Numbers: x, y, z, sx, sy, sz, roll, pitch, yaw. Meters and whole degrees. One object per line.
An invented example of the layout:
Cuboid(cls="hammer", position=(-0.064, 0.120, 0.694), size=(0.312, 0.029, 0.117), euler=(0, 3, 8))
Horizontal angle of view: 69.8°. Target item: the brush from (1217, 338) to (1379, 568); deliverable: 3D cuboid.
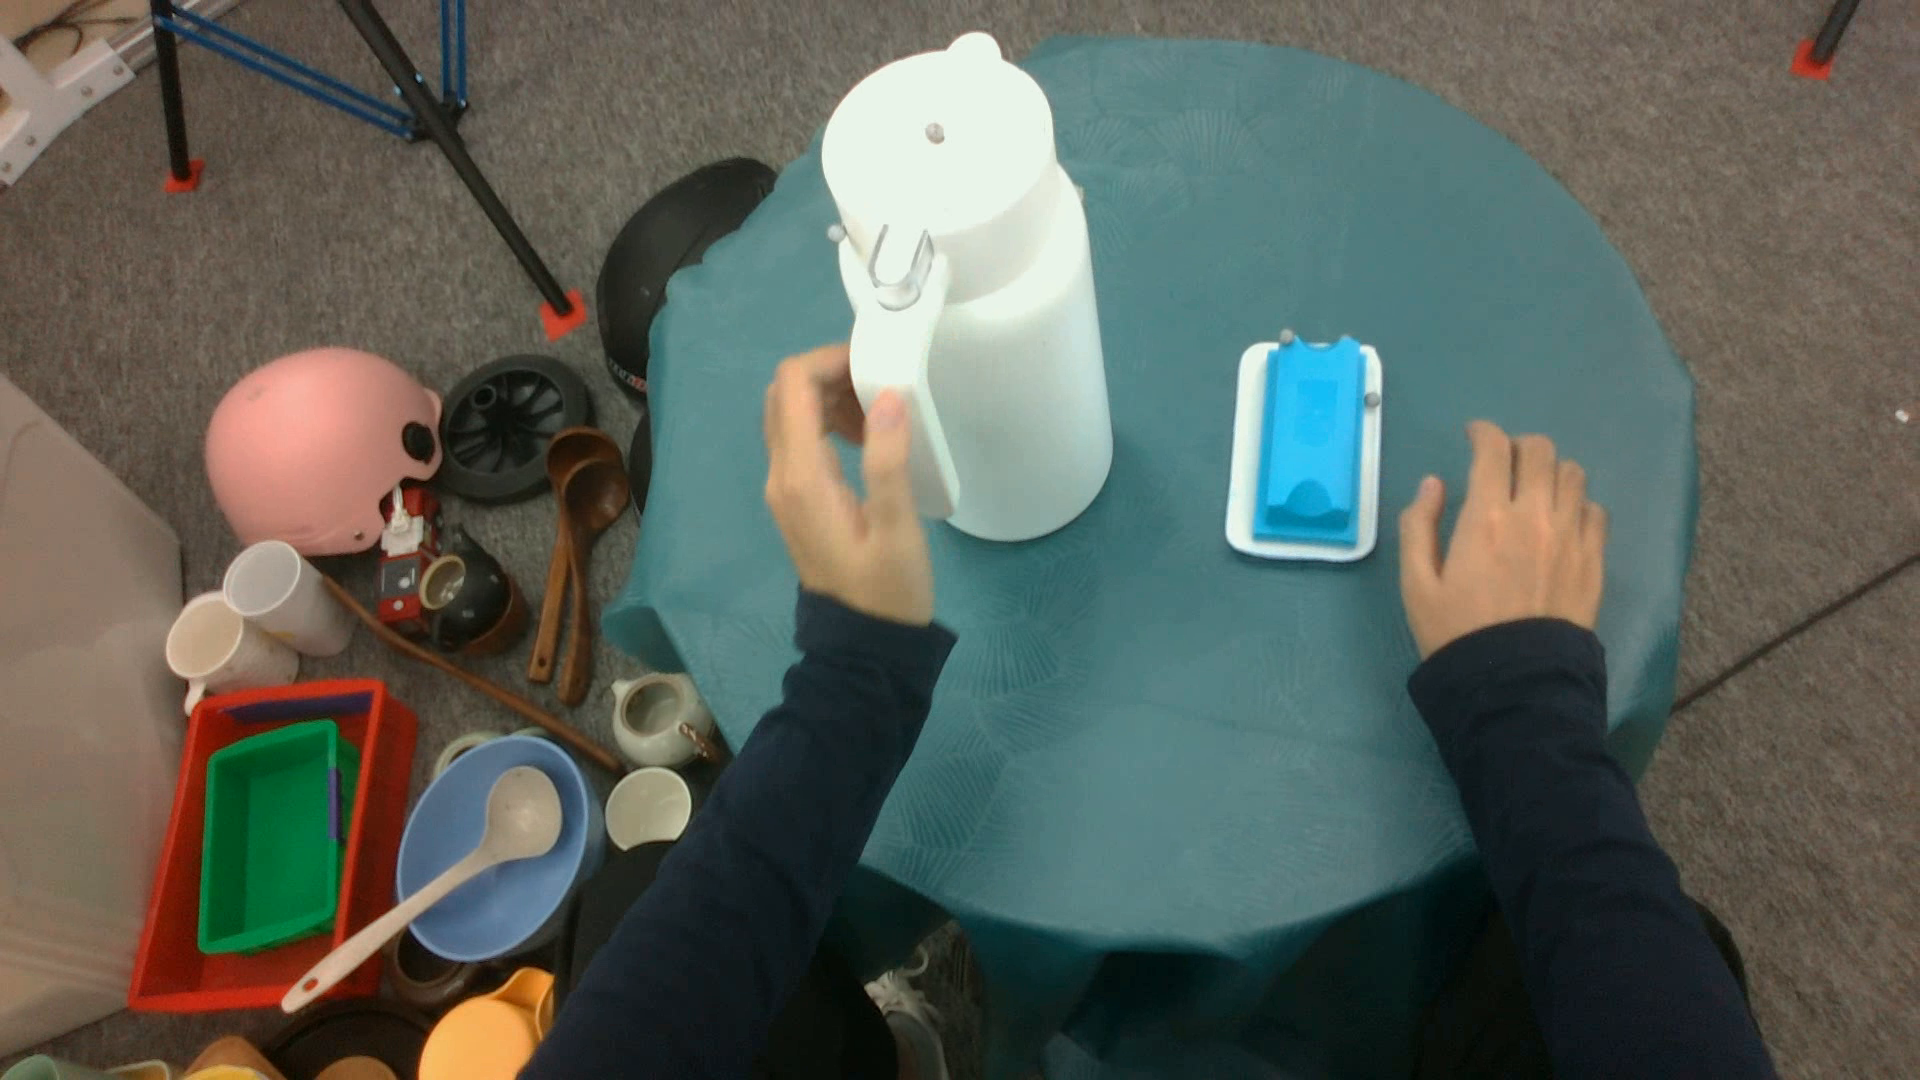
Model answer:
Cuboid(cls="brush", position=(0.190, -0.056, 0.768), size=(0.084, 0.056, 0.144), euler=(4, 61, 15))

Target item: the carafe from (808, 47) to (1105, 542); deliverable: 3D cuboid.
Cuboid(cls="carafe", position=(0.004, -0.091, 0.703), size=(0.124, 0.268, 0.173), euler=(9, 66, 13))
